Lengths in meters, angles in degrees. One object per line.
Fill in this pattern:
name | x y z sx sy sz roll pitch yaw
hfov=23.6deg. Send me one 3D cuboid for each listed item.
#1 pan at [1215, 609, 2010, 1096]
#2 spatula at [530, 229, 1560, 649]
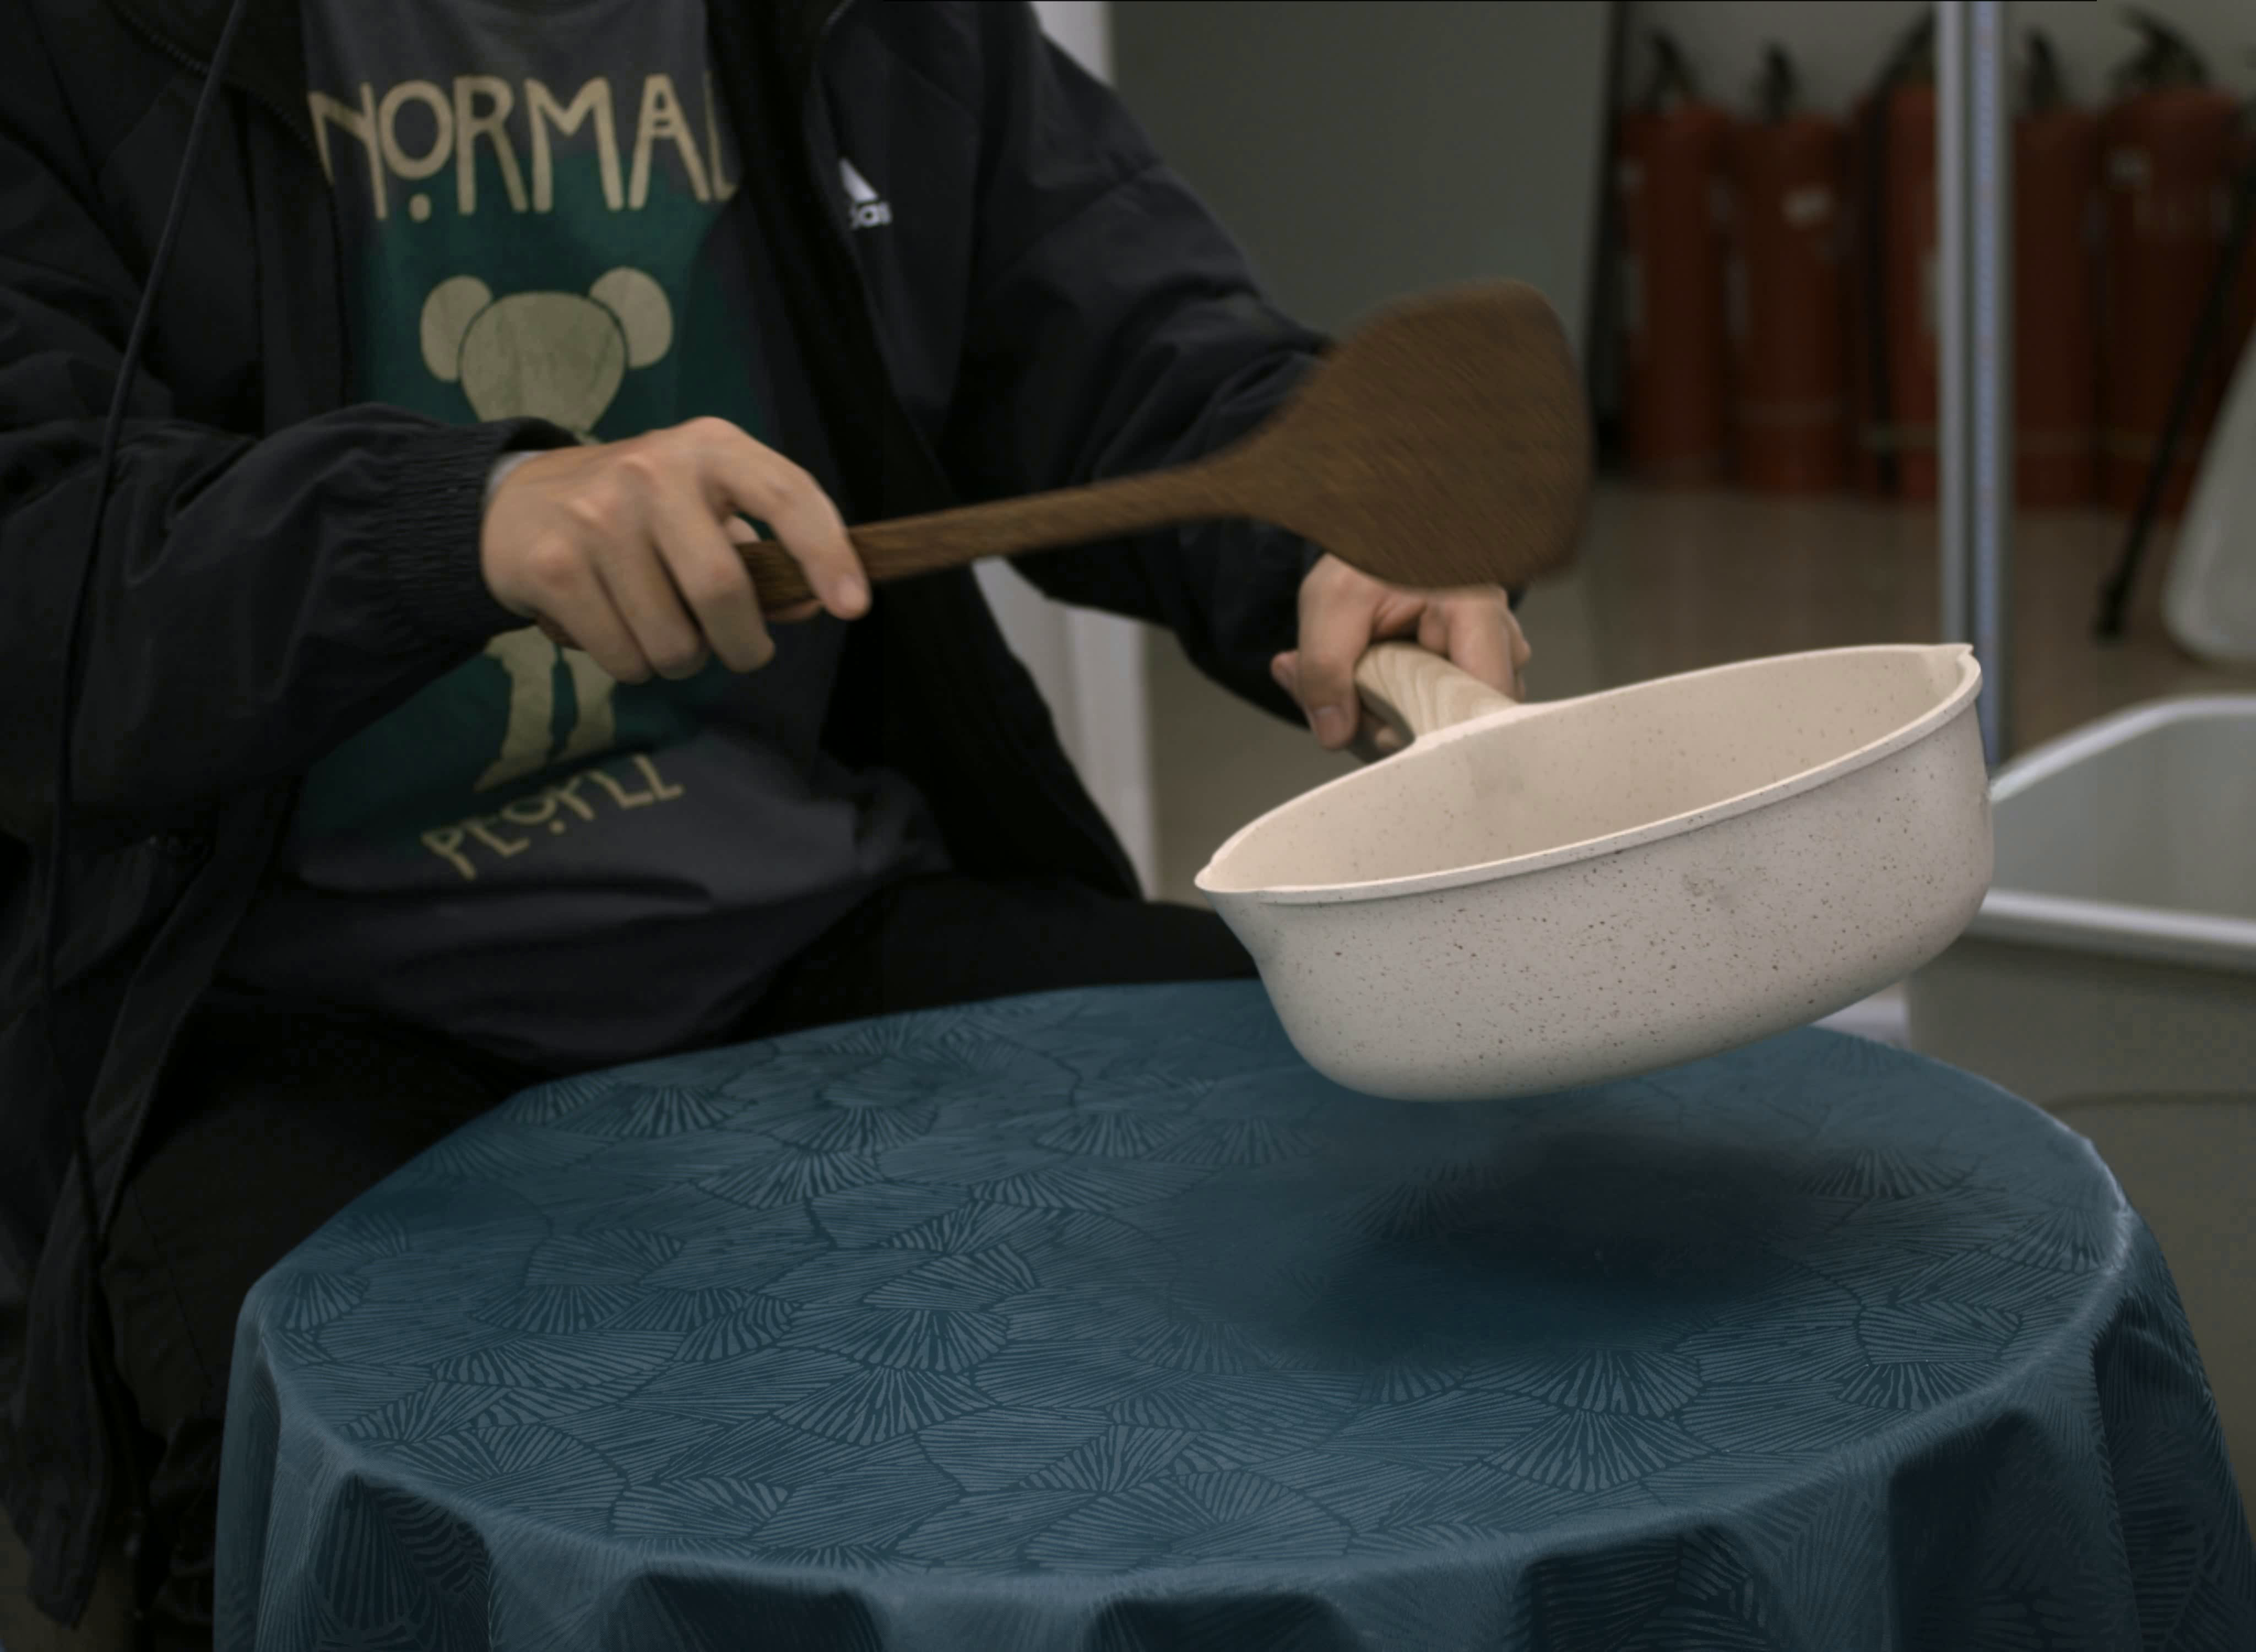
pan | 0.139 -0.004 1.783 0.259 0.103 0.437 -20 10 -9
spatula | -0.035 -0.104 1.713 0.387 0.097 0.015 -11 -4 32
